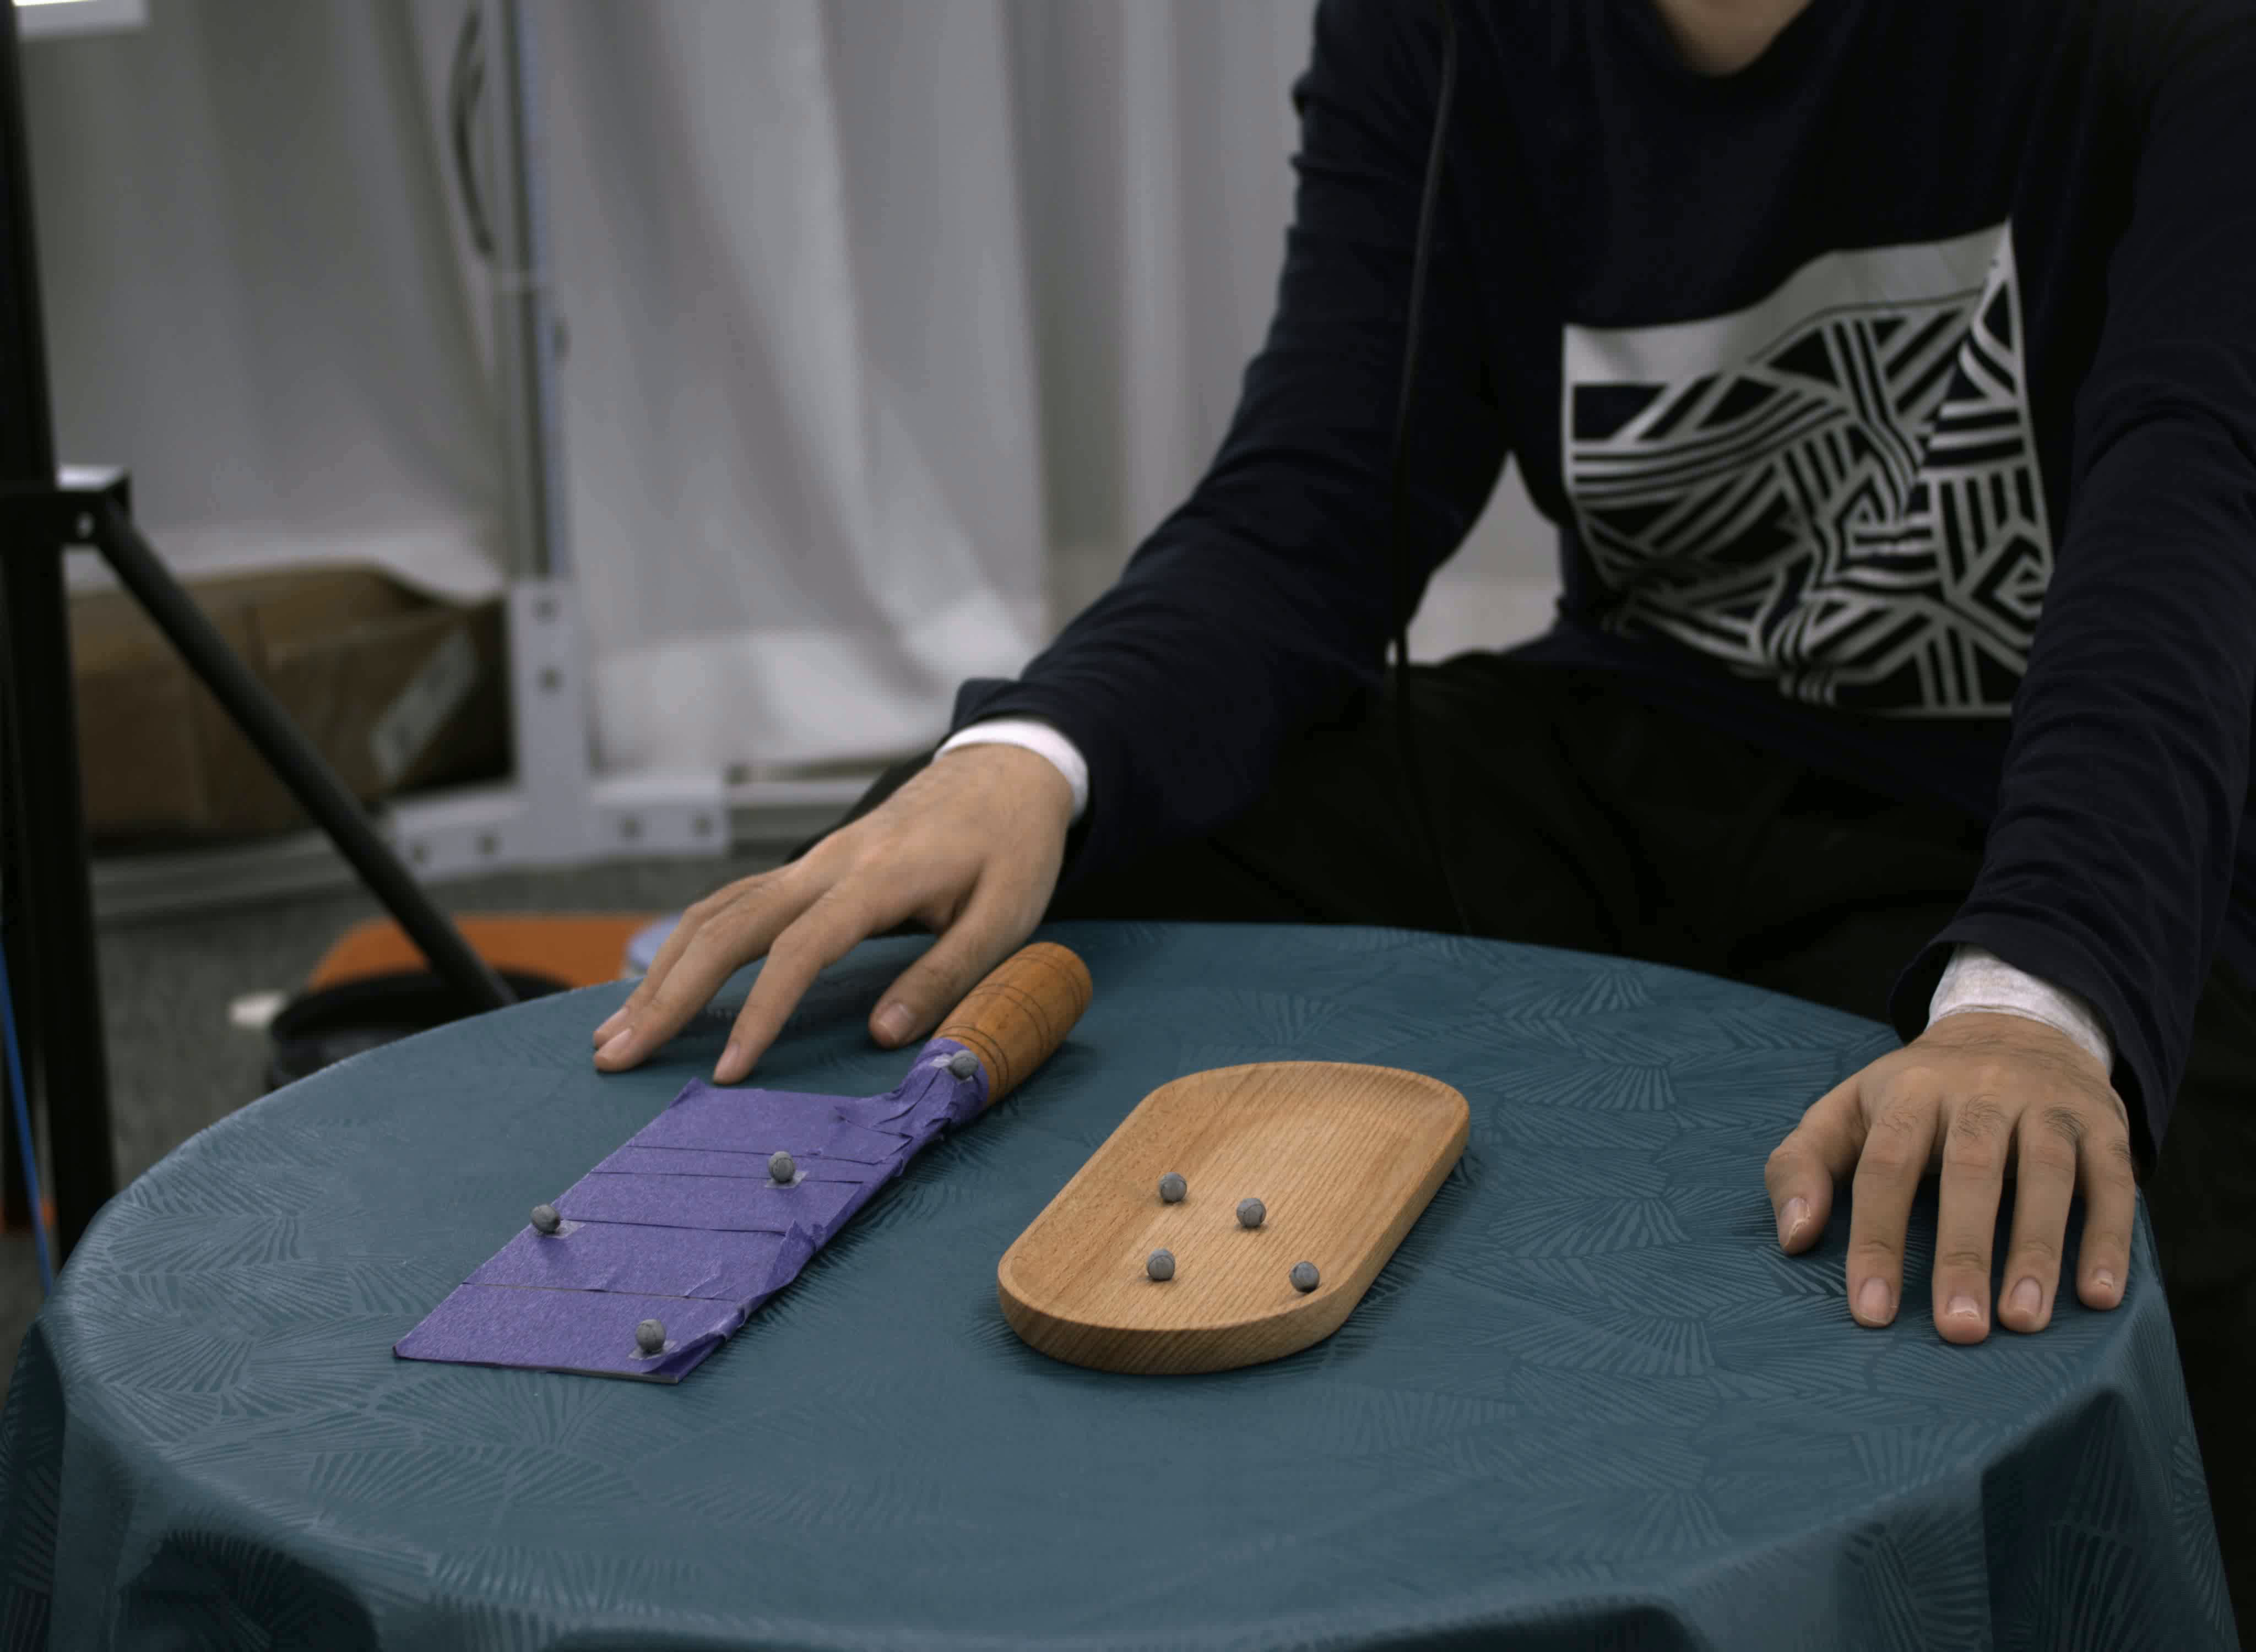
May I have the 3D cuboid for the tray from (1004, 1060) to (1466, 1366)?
[{"bbox_3d":[0.034,0.109,1.524,0.102,0.020,0.229,3,15,15],"label":"tray"}]

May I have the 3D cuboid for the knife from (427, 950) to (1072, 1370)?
[{"bbox_3d":[-0.108,0.095,1.576,0.105,0.032,0.312,3,17,19],"label":"knife"}]
